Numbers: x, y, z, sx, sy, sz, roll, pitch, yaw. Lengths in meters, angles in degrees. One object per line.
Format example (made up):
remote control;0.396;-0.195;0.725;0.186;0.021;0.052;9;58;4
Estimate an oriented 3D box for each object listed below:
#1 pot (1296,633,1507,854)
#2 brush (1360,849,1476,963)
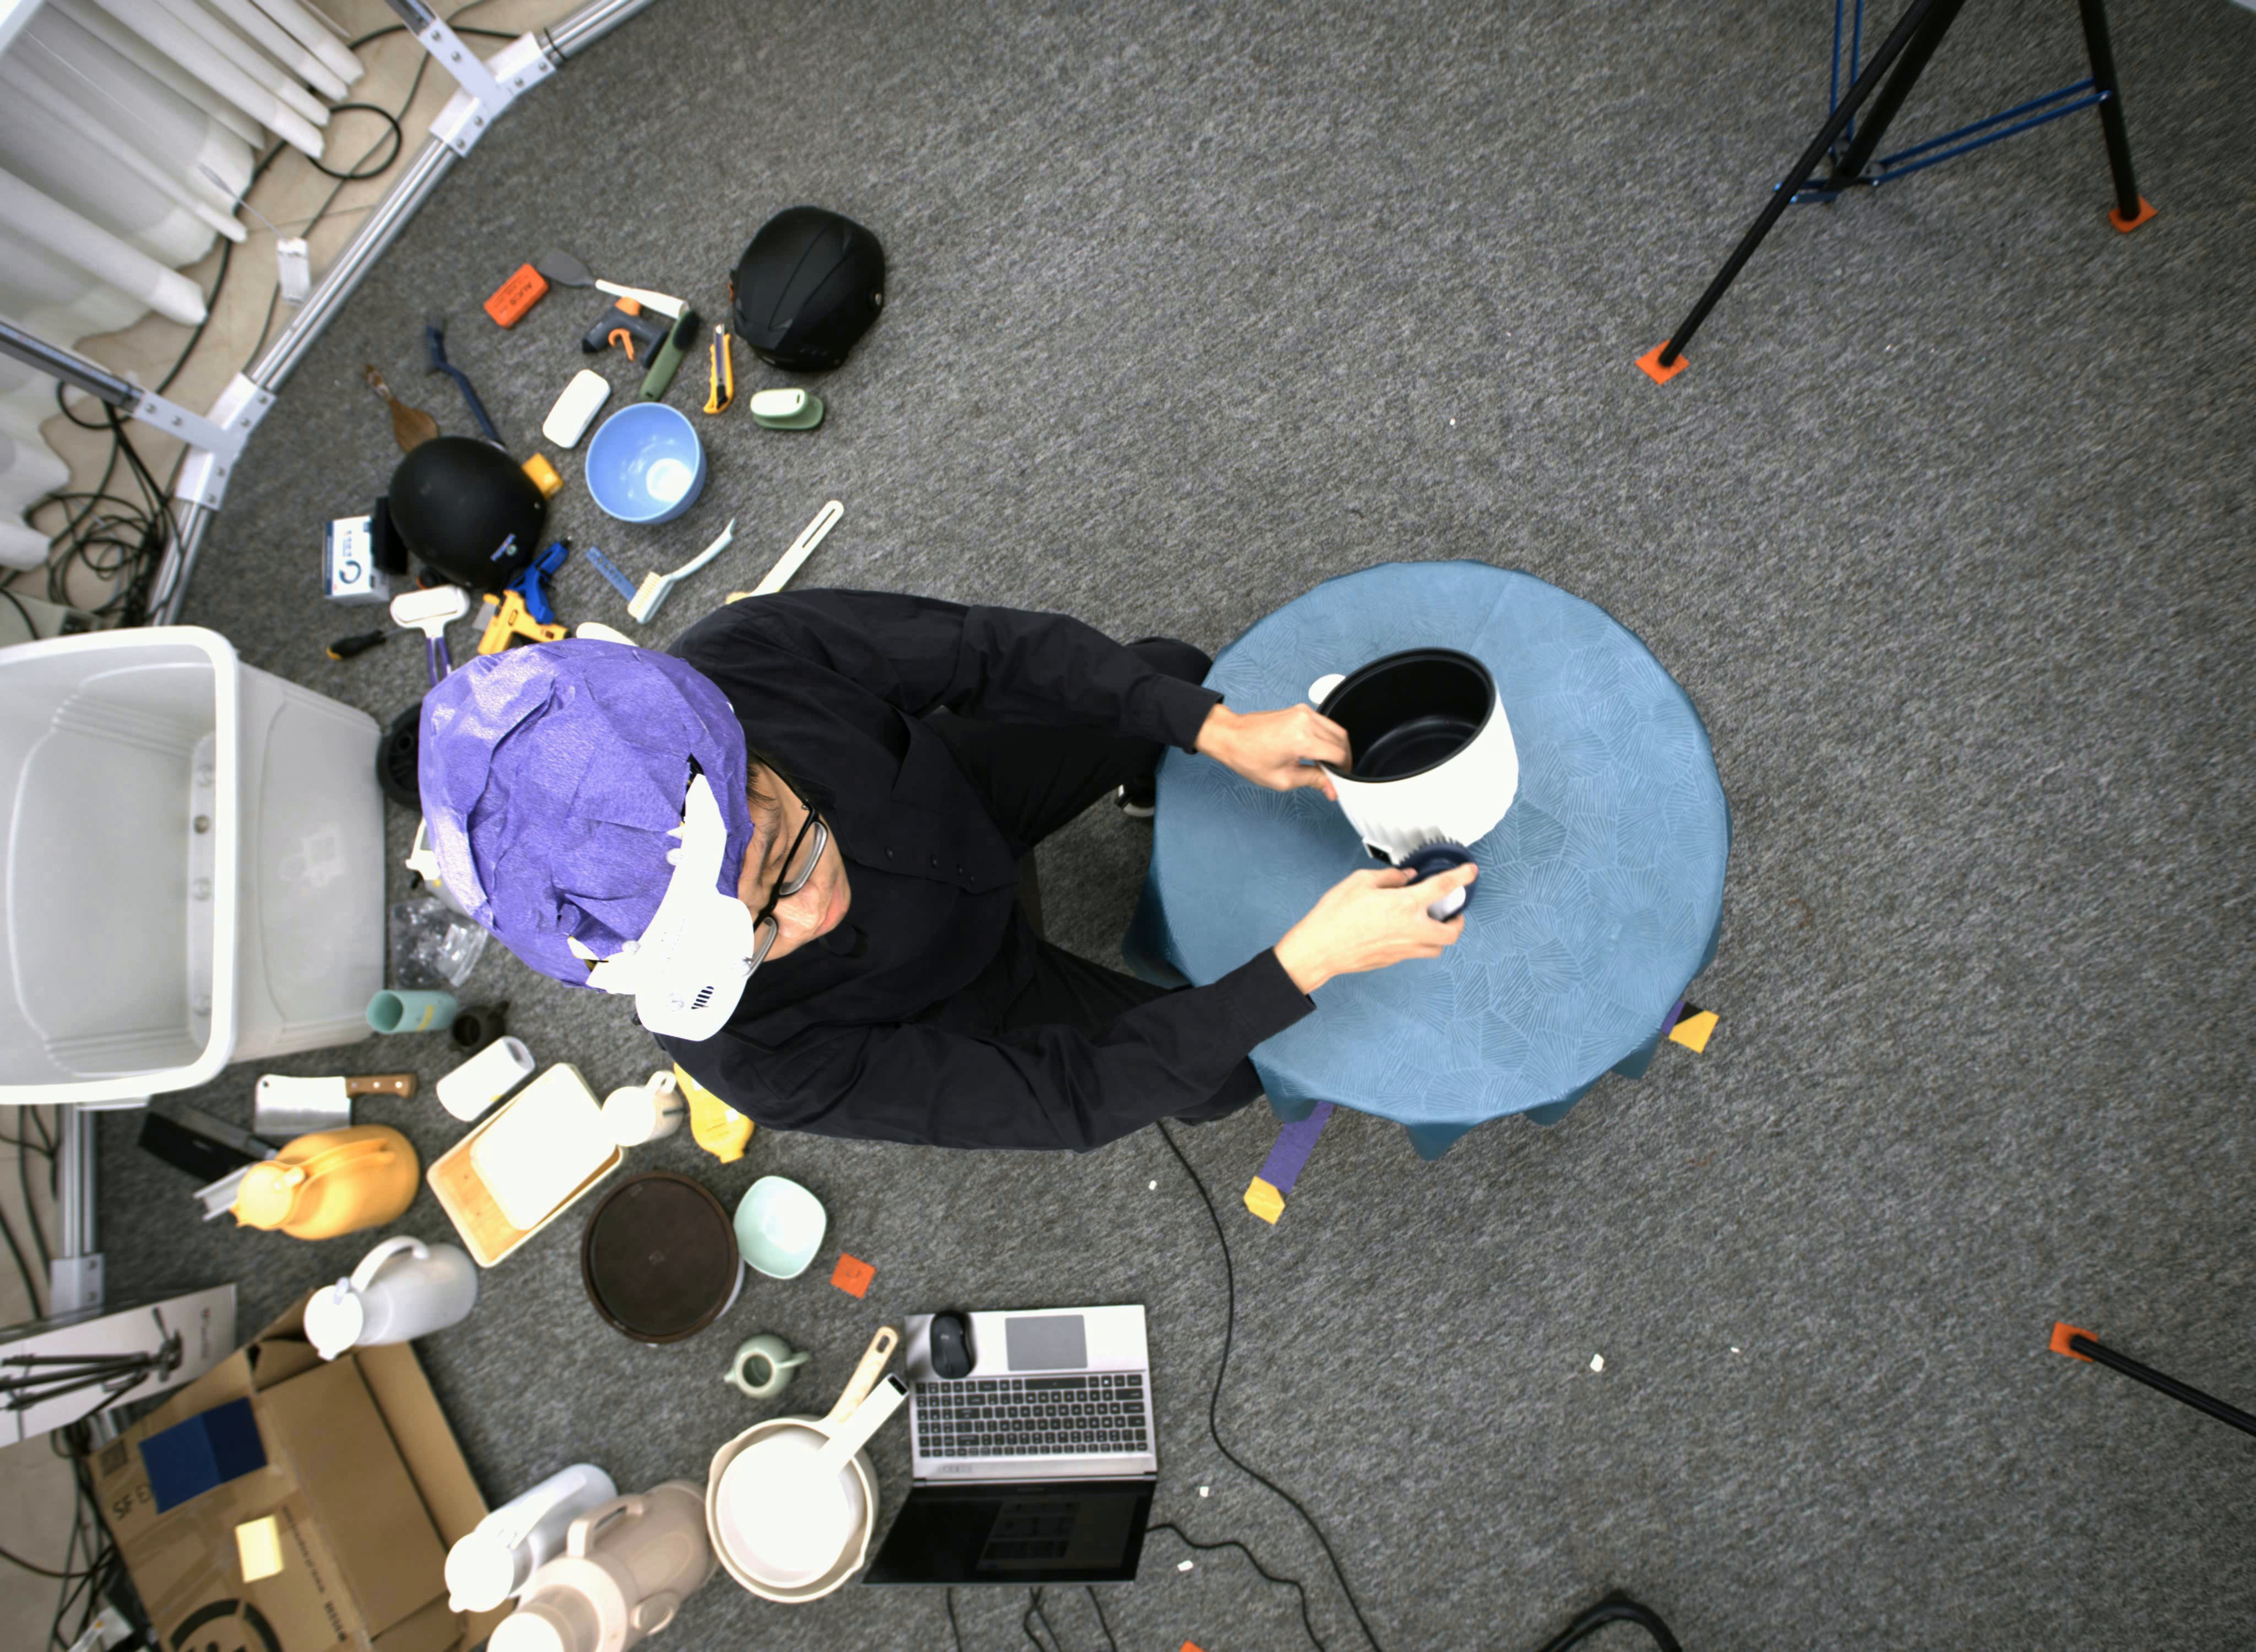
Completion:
pot;0.280;-0.084;1.350;0.239;0.145;0.188;28;71;44
brush;0.268;0.072;1.277;0.068;0.059;0.124;40;121;-17
